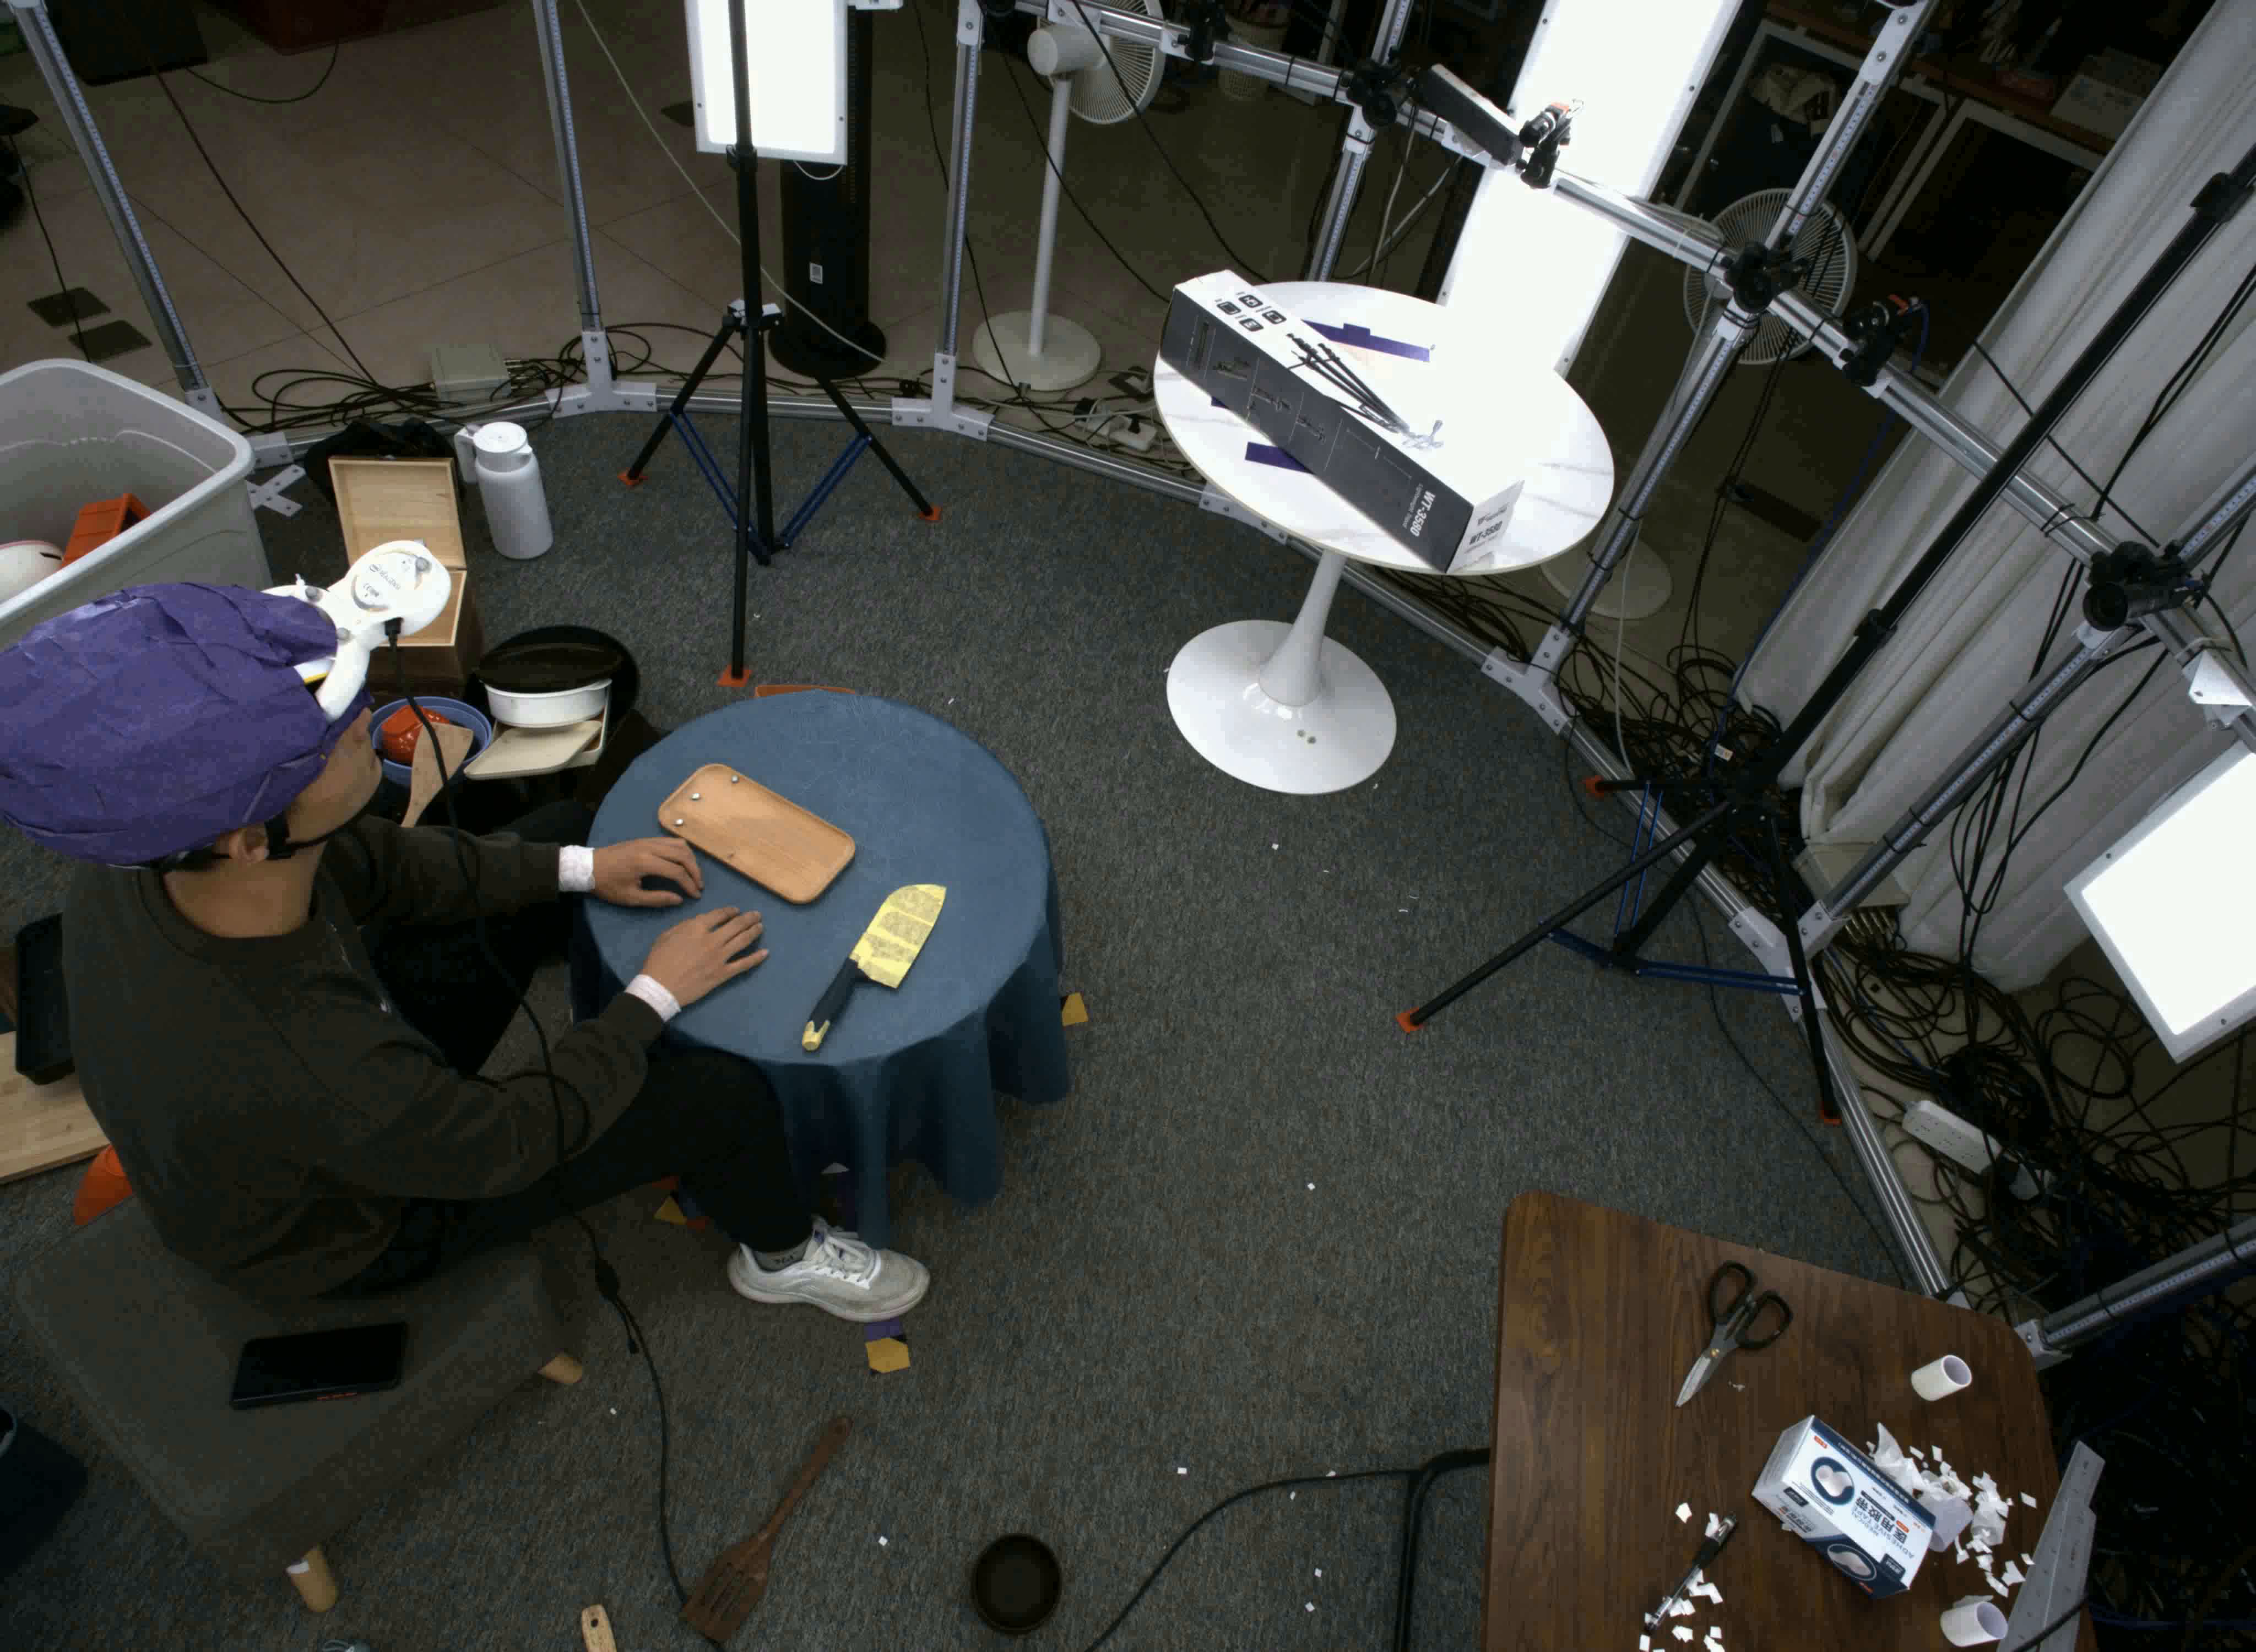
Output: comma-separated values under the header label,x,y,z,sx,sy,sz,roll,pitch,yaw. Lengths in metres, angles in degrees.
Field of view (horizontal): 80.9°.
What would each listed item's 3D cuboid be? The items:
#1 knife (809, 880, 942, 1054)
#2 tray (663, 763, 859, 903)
label,x,y,z,sx,sy,sz,roll,pitch,yaw
knife,-0.312,0.169,1.629,0.080,0.028,0.287,24,51,6
tray,-0.484,0.007,1.704,0.247,0.023,0.130,29,55,7
